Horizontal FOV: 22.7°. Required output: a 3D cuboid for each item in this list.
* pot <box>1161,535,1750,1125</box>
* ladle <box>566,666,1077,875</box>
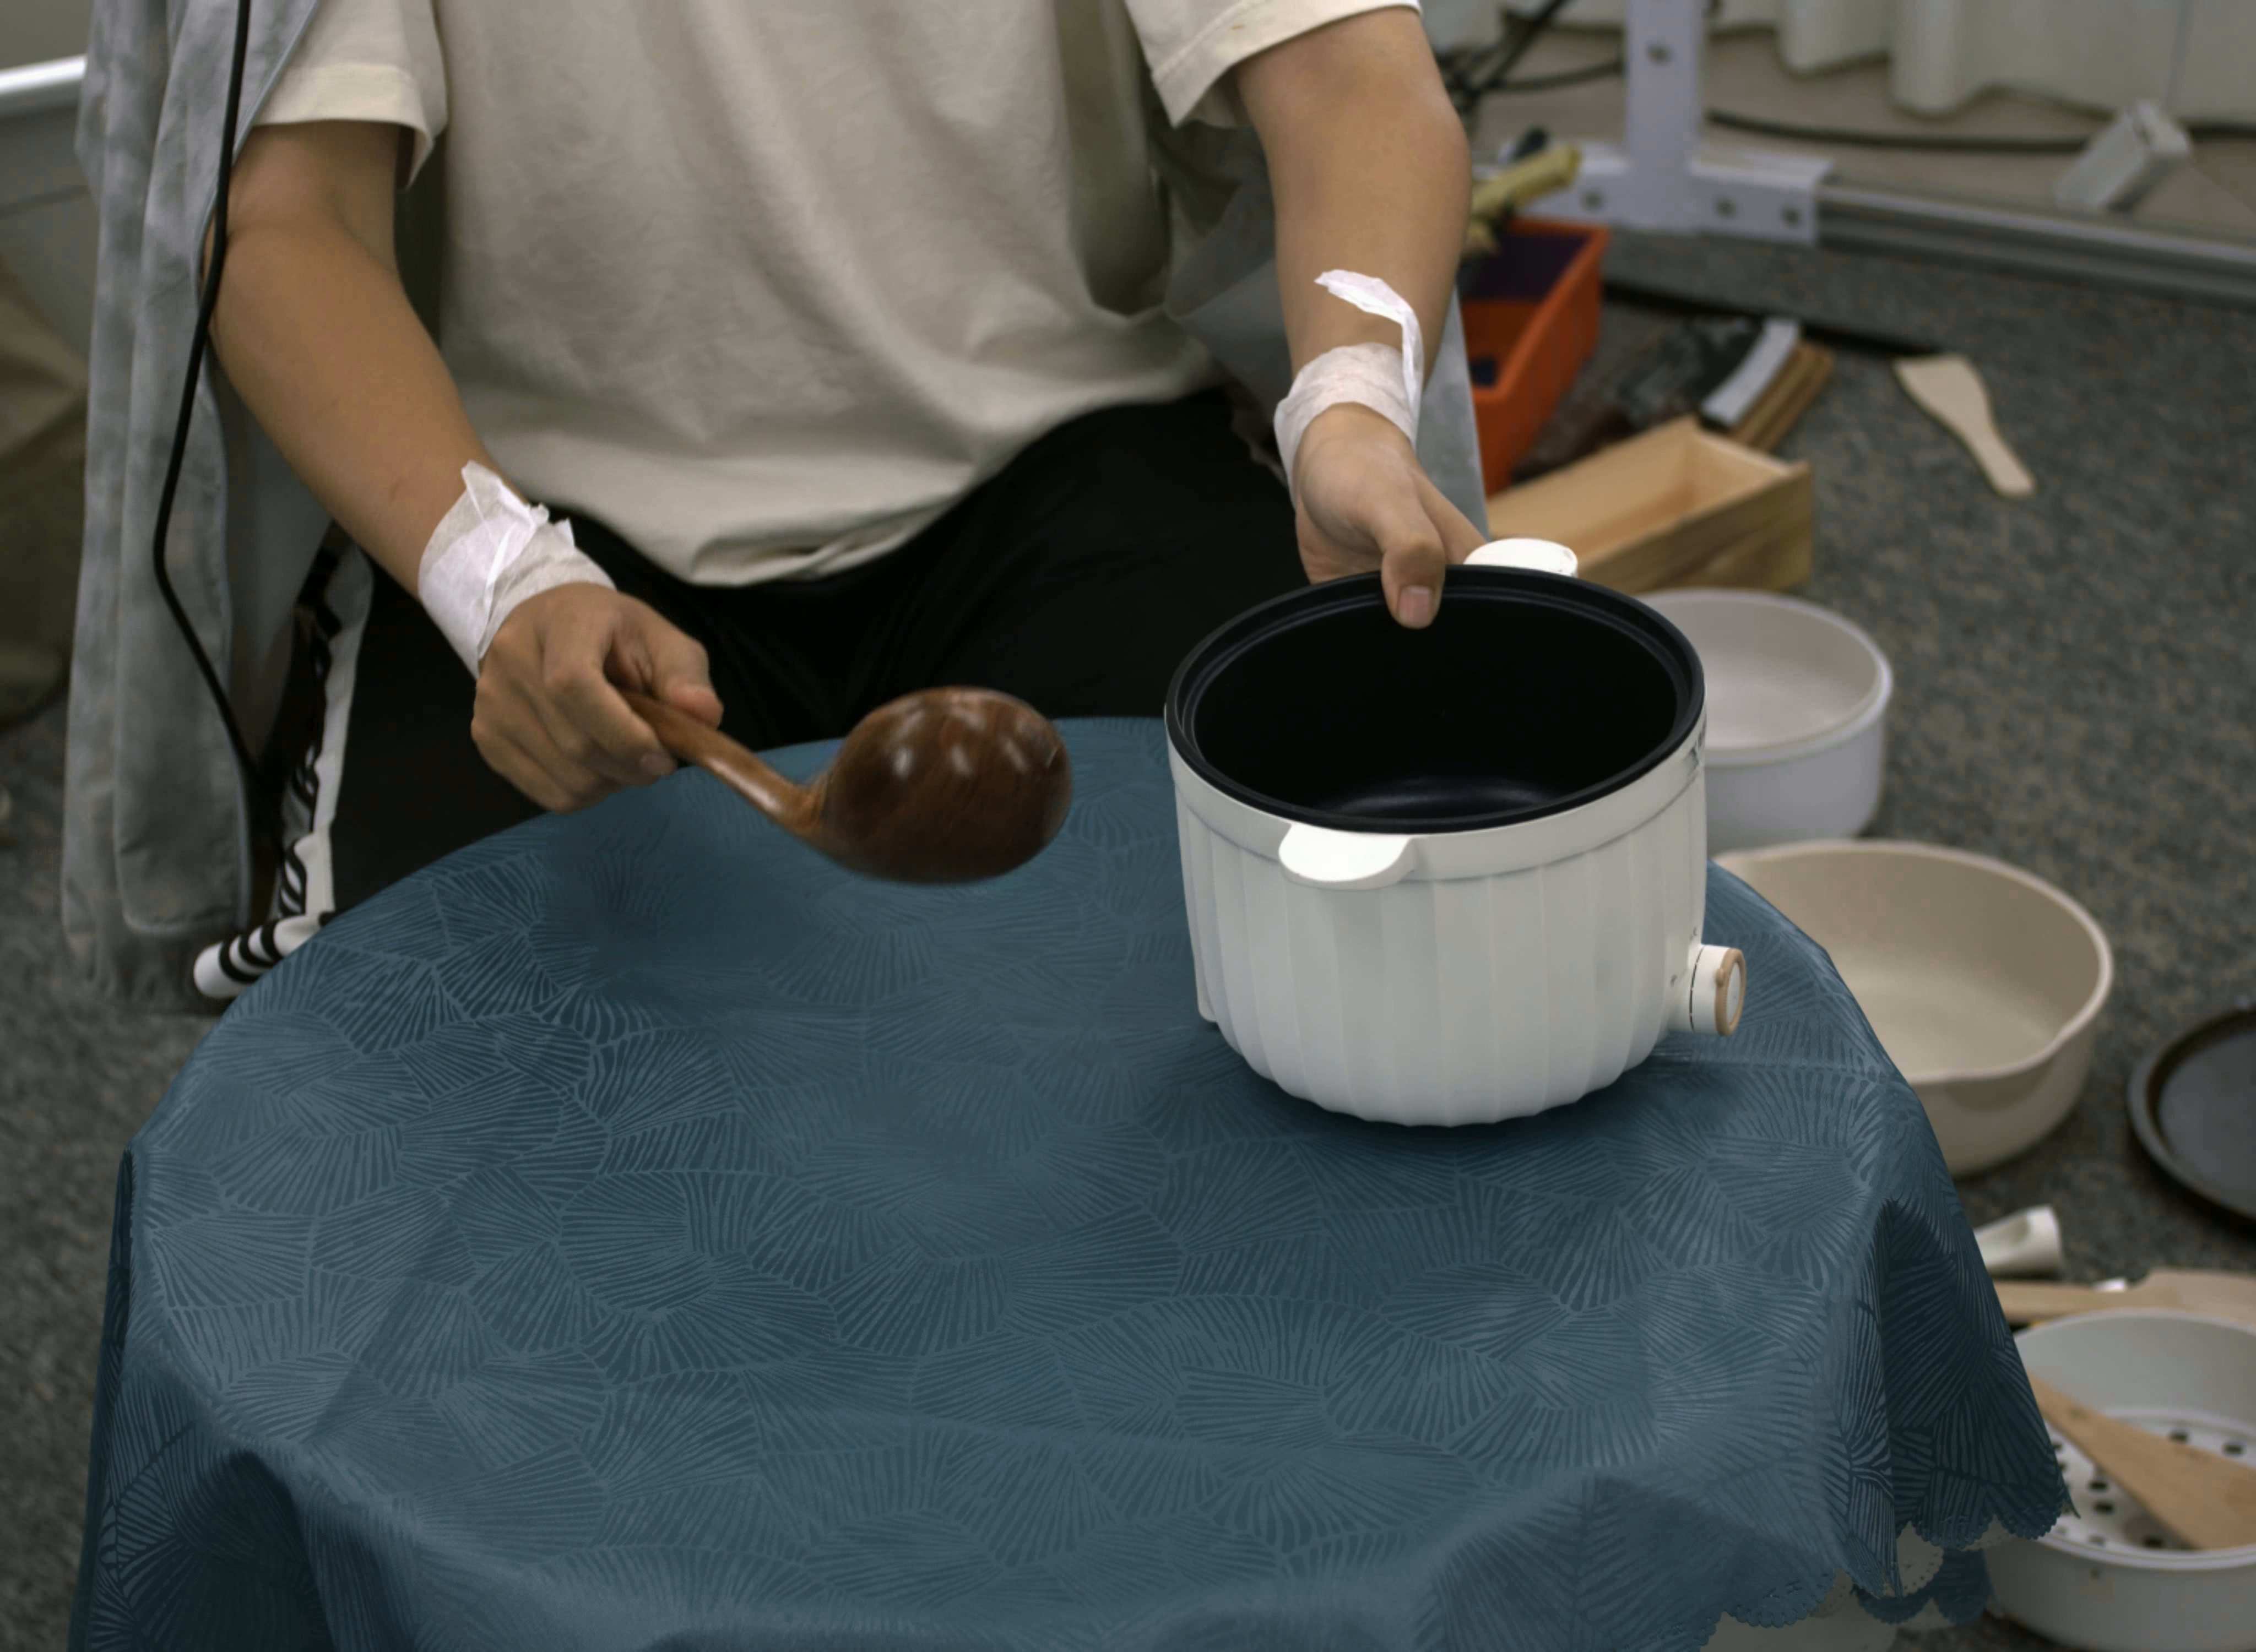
[{"bbox_3d":[0.112,0.011,1.908,0.189,0.141,0.245,3,30,21],"label":"pot"},{"bbox_3d":[-0.111,-0.039,1.912,0.077,0.081,0.274,-53,32,-8],"label":"ladle"}]
